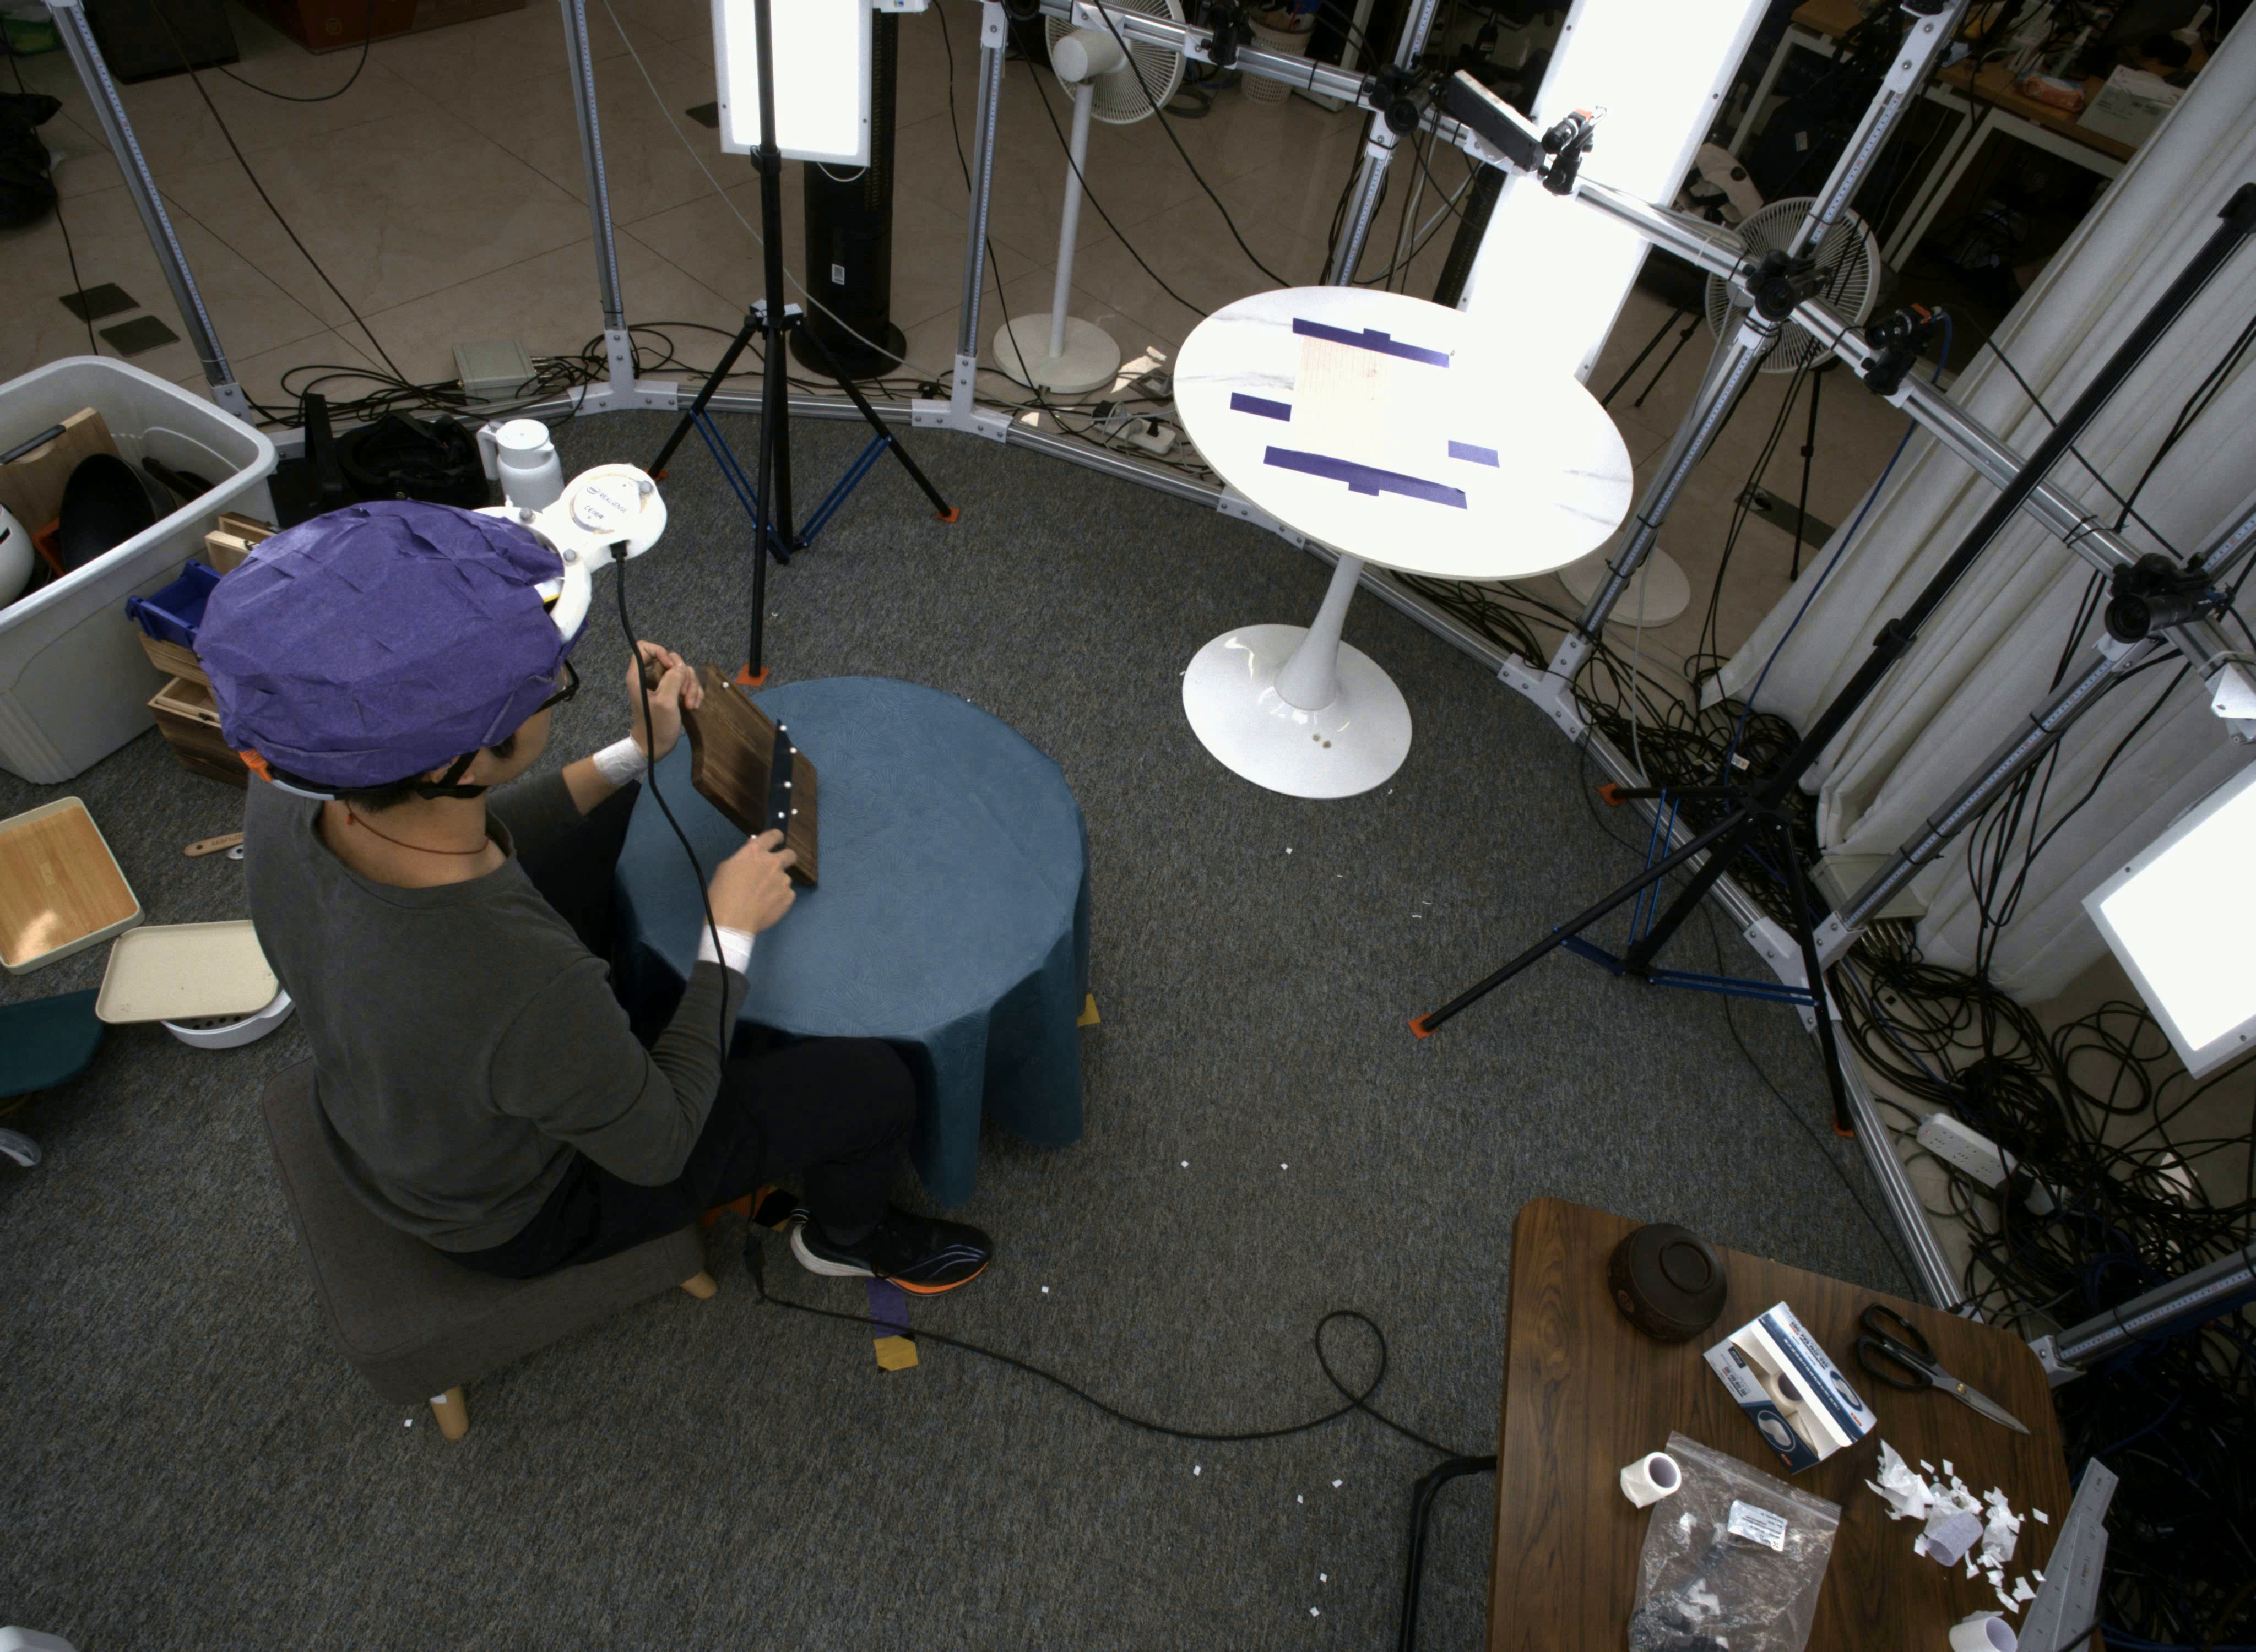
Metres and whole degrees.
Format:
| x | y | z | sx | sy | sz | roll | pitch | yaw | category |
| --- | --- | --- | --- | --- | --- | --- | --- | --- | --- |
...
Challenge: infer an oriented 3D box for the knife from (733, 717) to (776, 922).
| x | y | z | sx | sy | sz | roll | pitch | yaw | category |
| --- | --- | --- | --- | --- | --- | --- | --- | --- | --- |
| -0.441 | -0.008 | 1.538 | 0.020 | 0.084 | 0.295 | -11 | 45 | 3 | knife |

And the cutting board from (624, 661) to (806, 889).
| x | y | z | sx | sy | sz | roll | pitch | yaw | category |
| --- | --- | --- | --- | --- | --- | --- | --- | --- | --- |
| -0.501 | -0.086 | 1.581 | 0.023 | 0.365 | 0.196 | -19 | 55 | 12 | cutting board |
